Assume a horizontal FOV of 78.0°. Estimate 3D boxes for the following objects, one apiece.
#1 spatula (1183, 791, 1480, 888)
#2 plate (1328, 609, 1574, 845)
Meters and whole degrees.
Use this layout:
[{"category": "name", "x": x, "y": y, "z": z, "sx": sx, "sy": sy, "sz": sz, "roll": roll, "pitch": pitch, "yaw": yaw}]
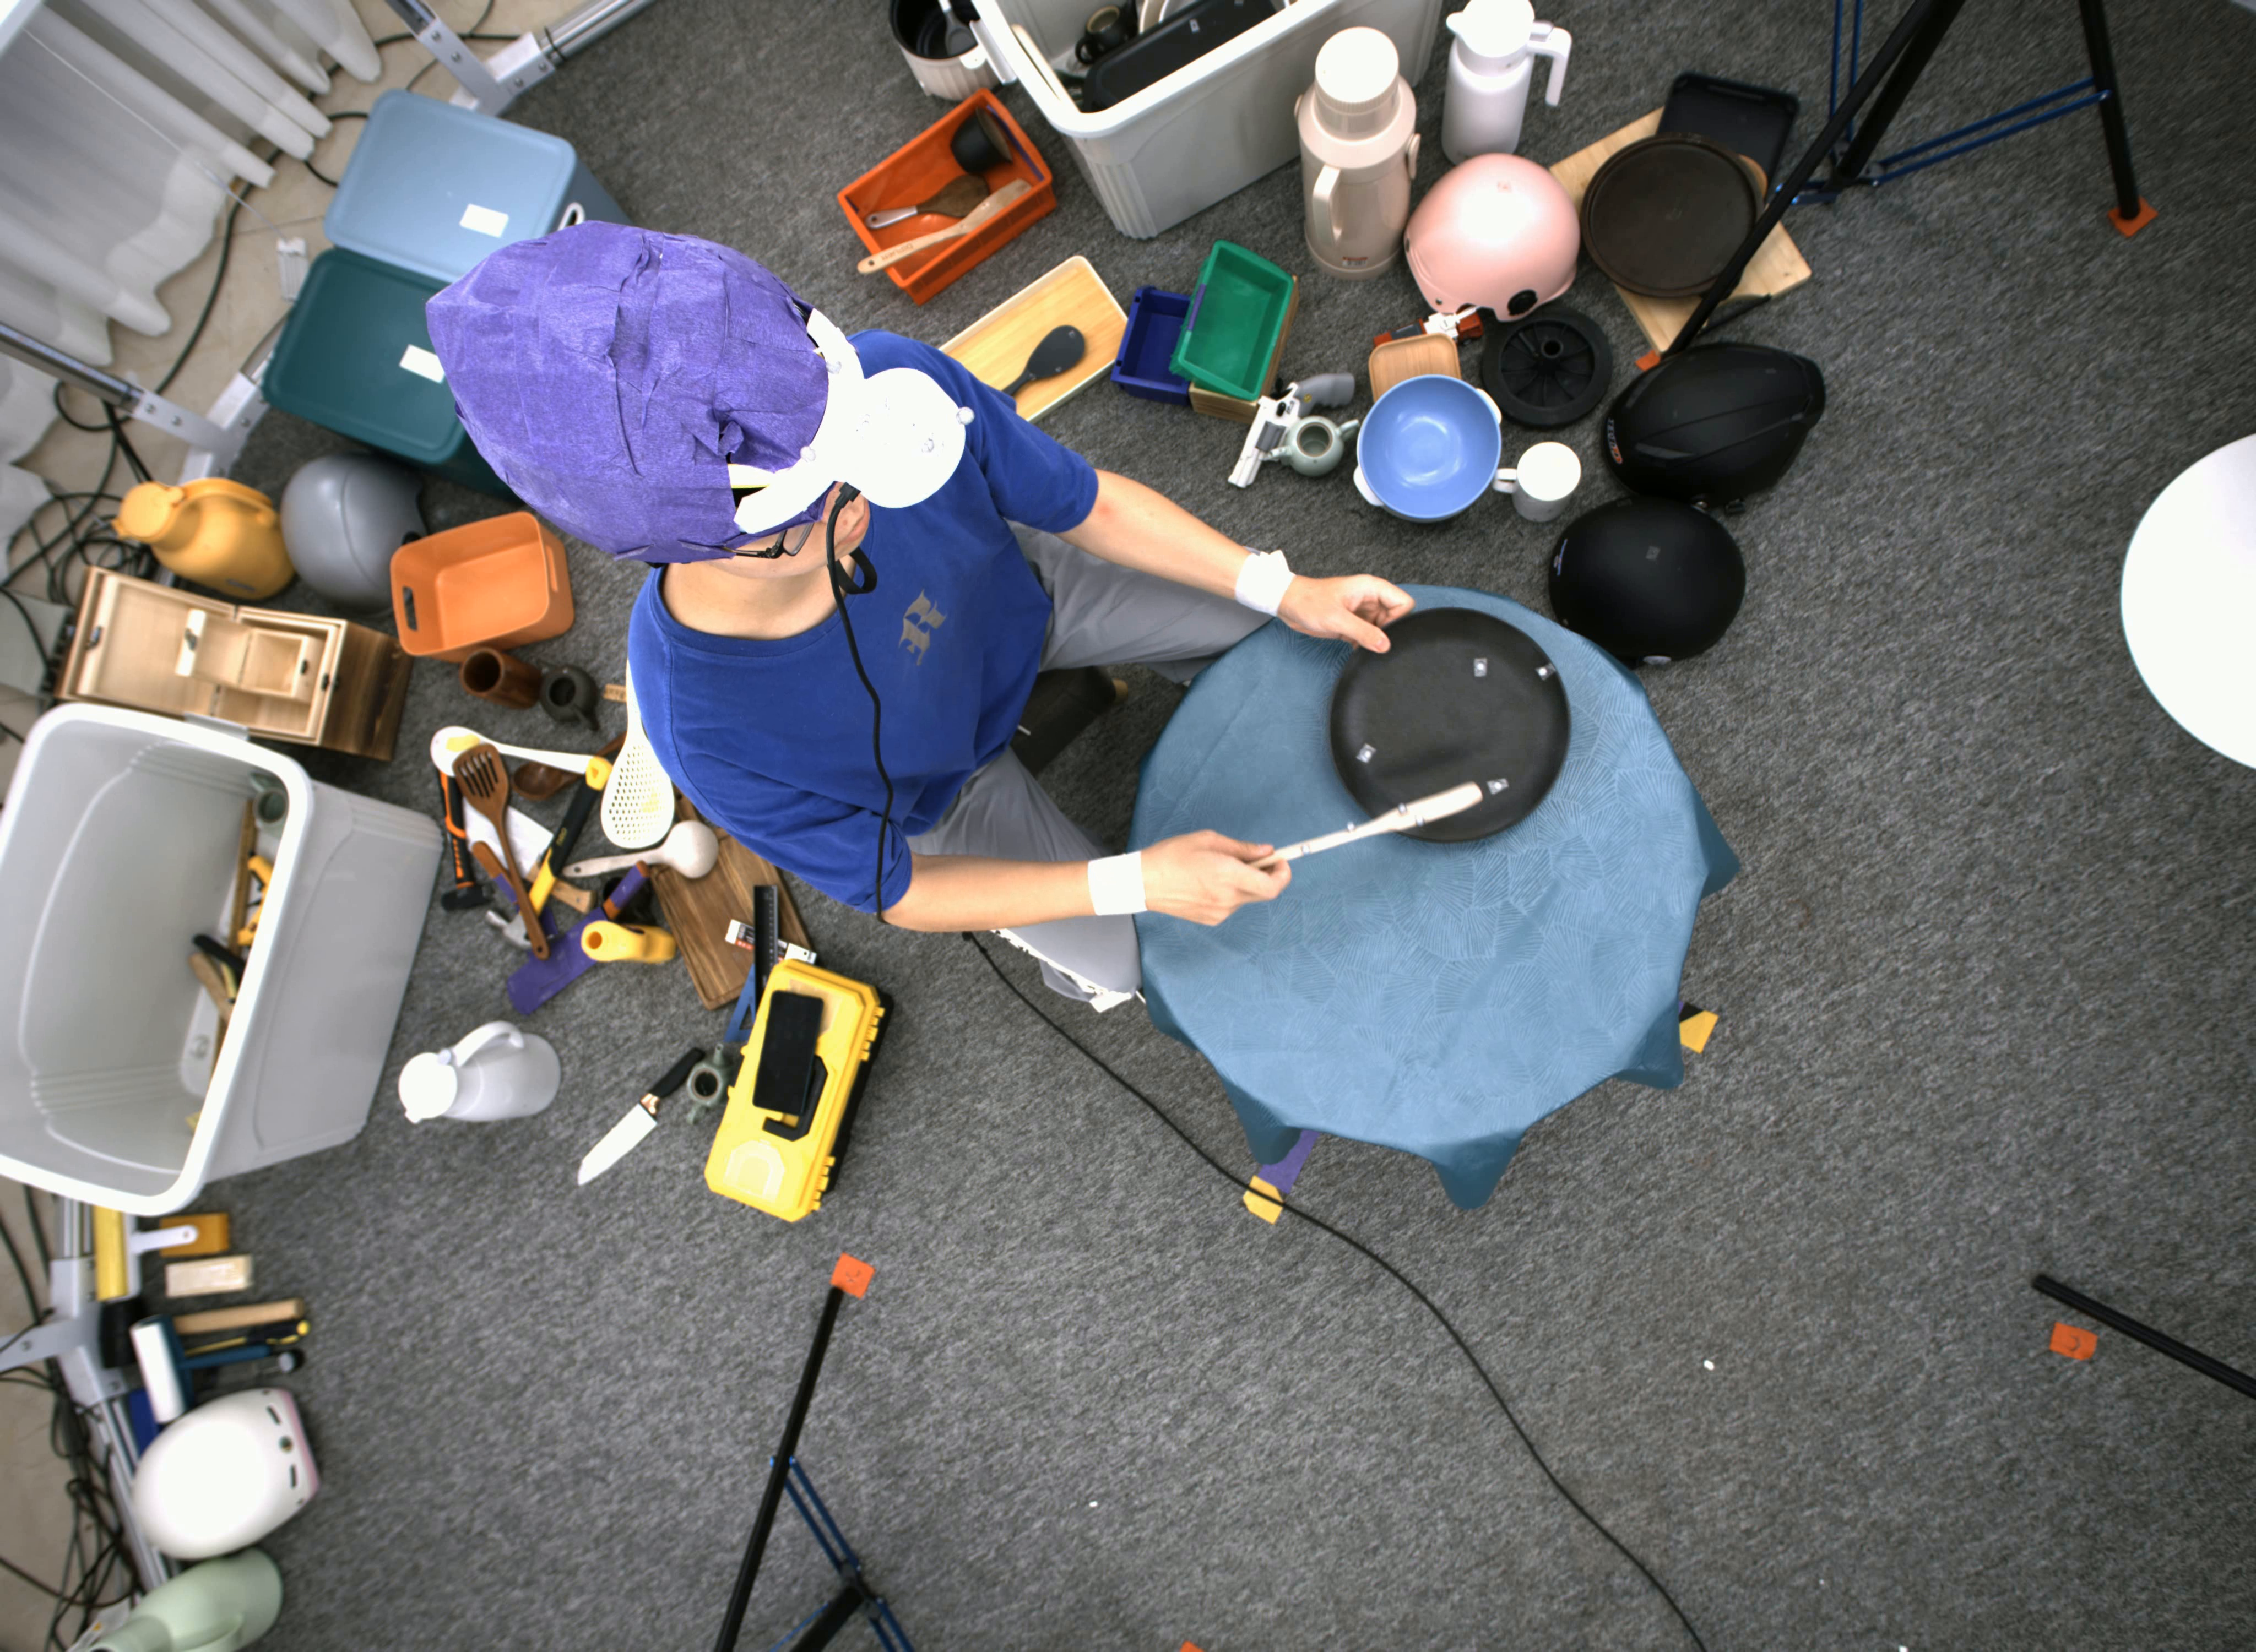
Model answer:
[{"category": "spatula", "x": 0.192, "y": 0.016, "z": 1.323, "sx": 0.295, "sy": 0.071, "sz": 0.011, "roll": -17, "pitch": 100, "yaw": 12}, {"category": "plate", "x": 0.327, "y": -0.102, "z": 1.395, "sx": 0.245, "sy": 0.023, "sz": 0.248, "roll": 5, "pitch": 109, "yaw": 14}]
